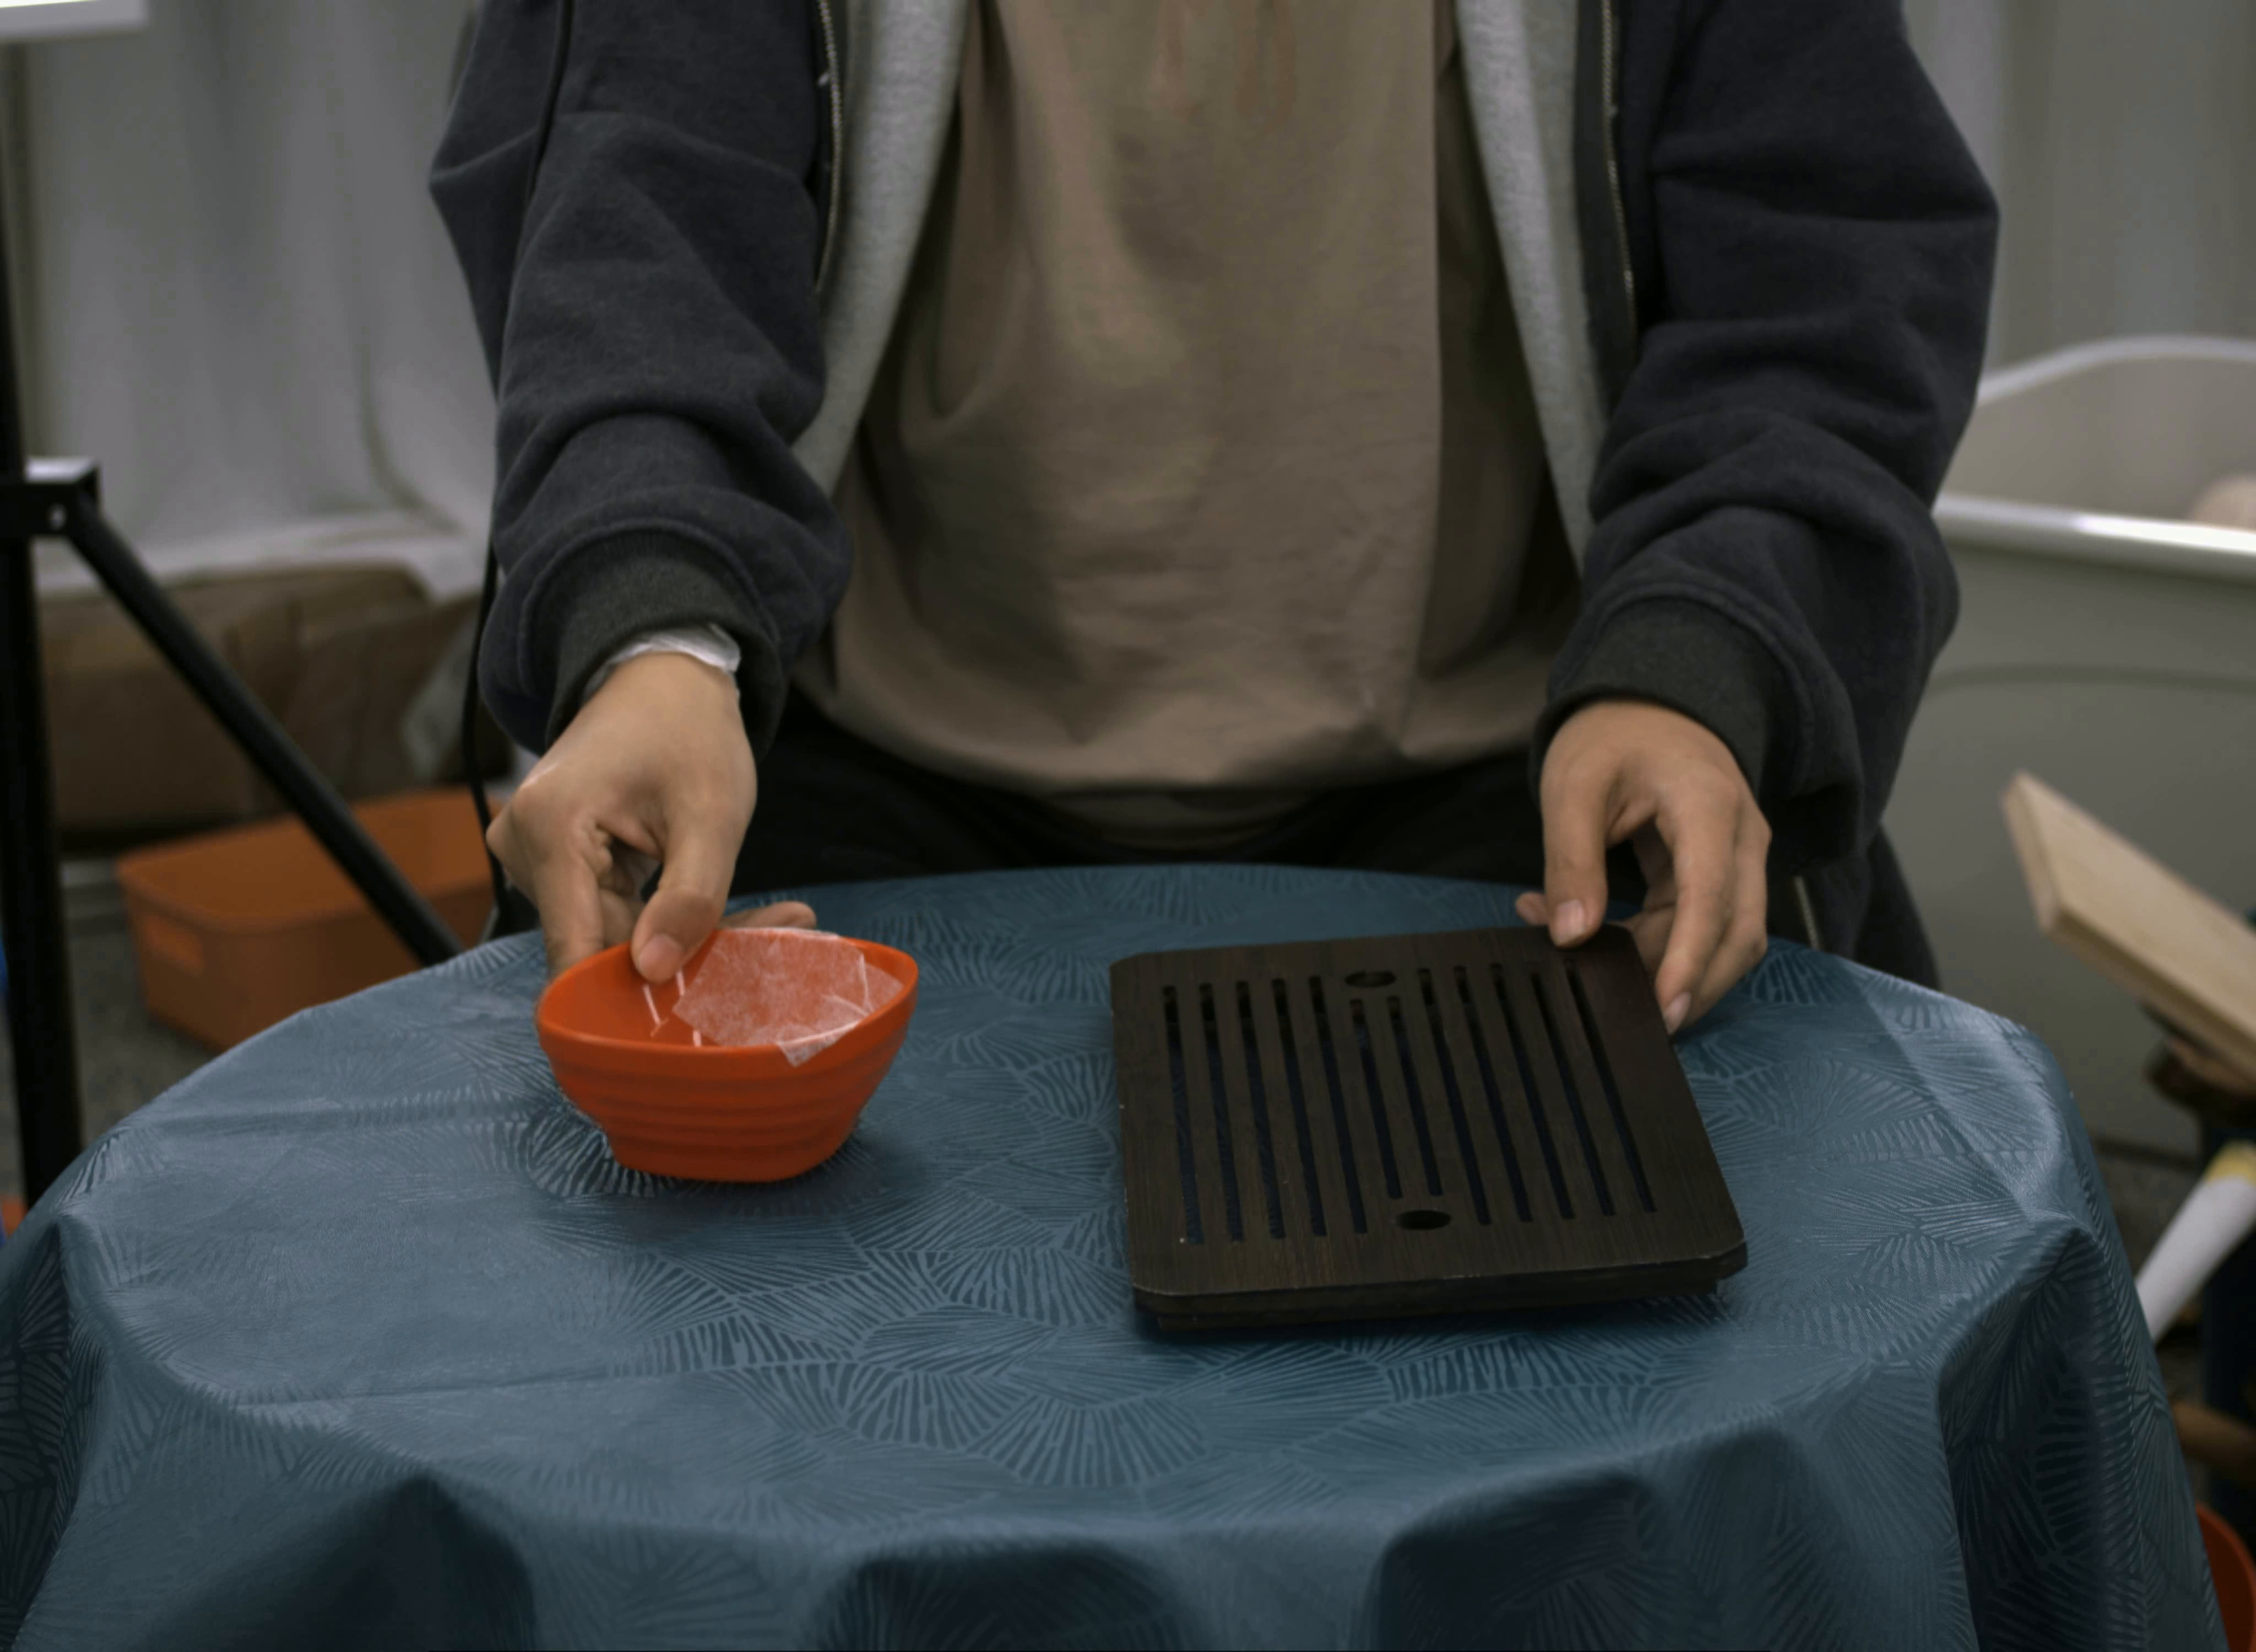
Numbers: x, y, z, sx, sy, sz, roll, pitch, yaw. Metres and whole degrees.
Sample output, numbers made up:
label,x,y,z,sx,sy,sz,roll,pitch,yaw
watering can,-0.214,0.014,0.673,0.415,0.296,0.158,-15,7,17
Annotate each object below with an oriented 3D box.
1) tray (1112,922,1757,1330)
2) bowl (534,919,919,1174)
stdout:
label,x,y,z,sx,sy,sz,roll,pitch,yaw
tray,0.084,0.086,1.577,0.169,0.018,0.307,-5,16,0
bowl,-0.118,0.069,1.600,0.118,0.051,0.119,-4,17,0
